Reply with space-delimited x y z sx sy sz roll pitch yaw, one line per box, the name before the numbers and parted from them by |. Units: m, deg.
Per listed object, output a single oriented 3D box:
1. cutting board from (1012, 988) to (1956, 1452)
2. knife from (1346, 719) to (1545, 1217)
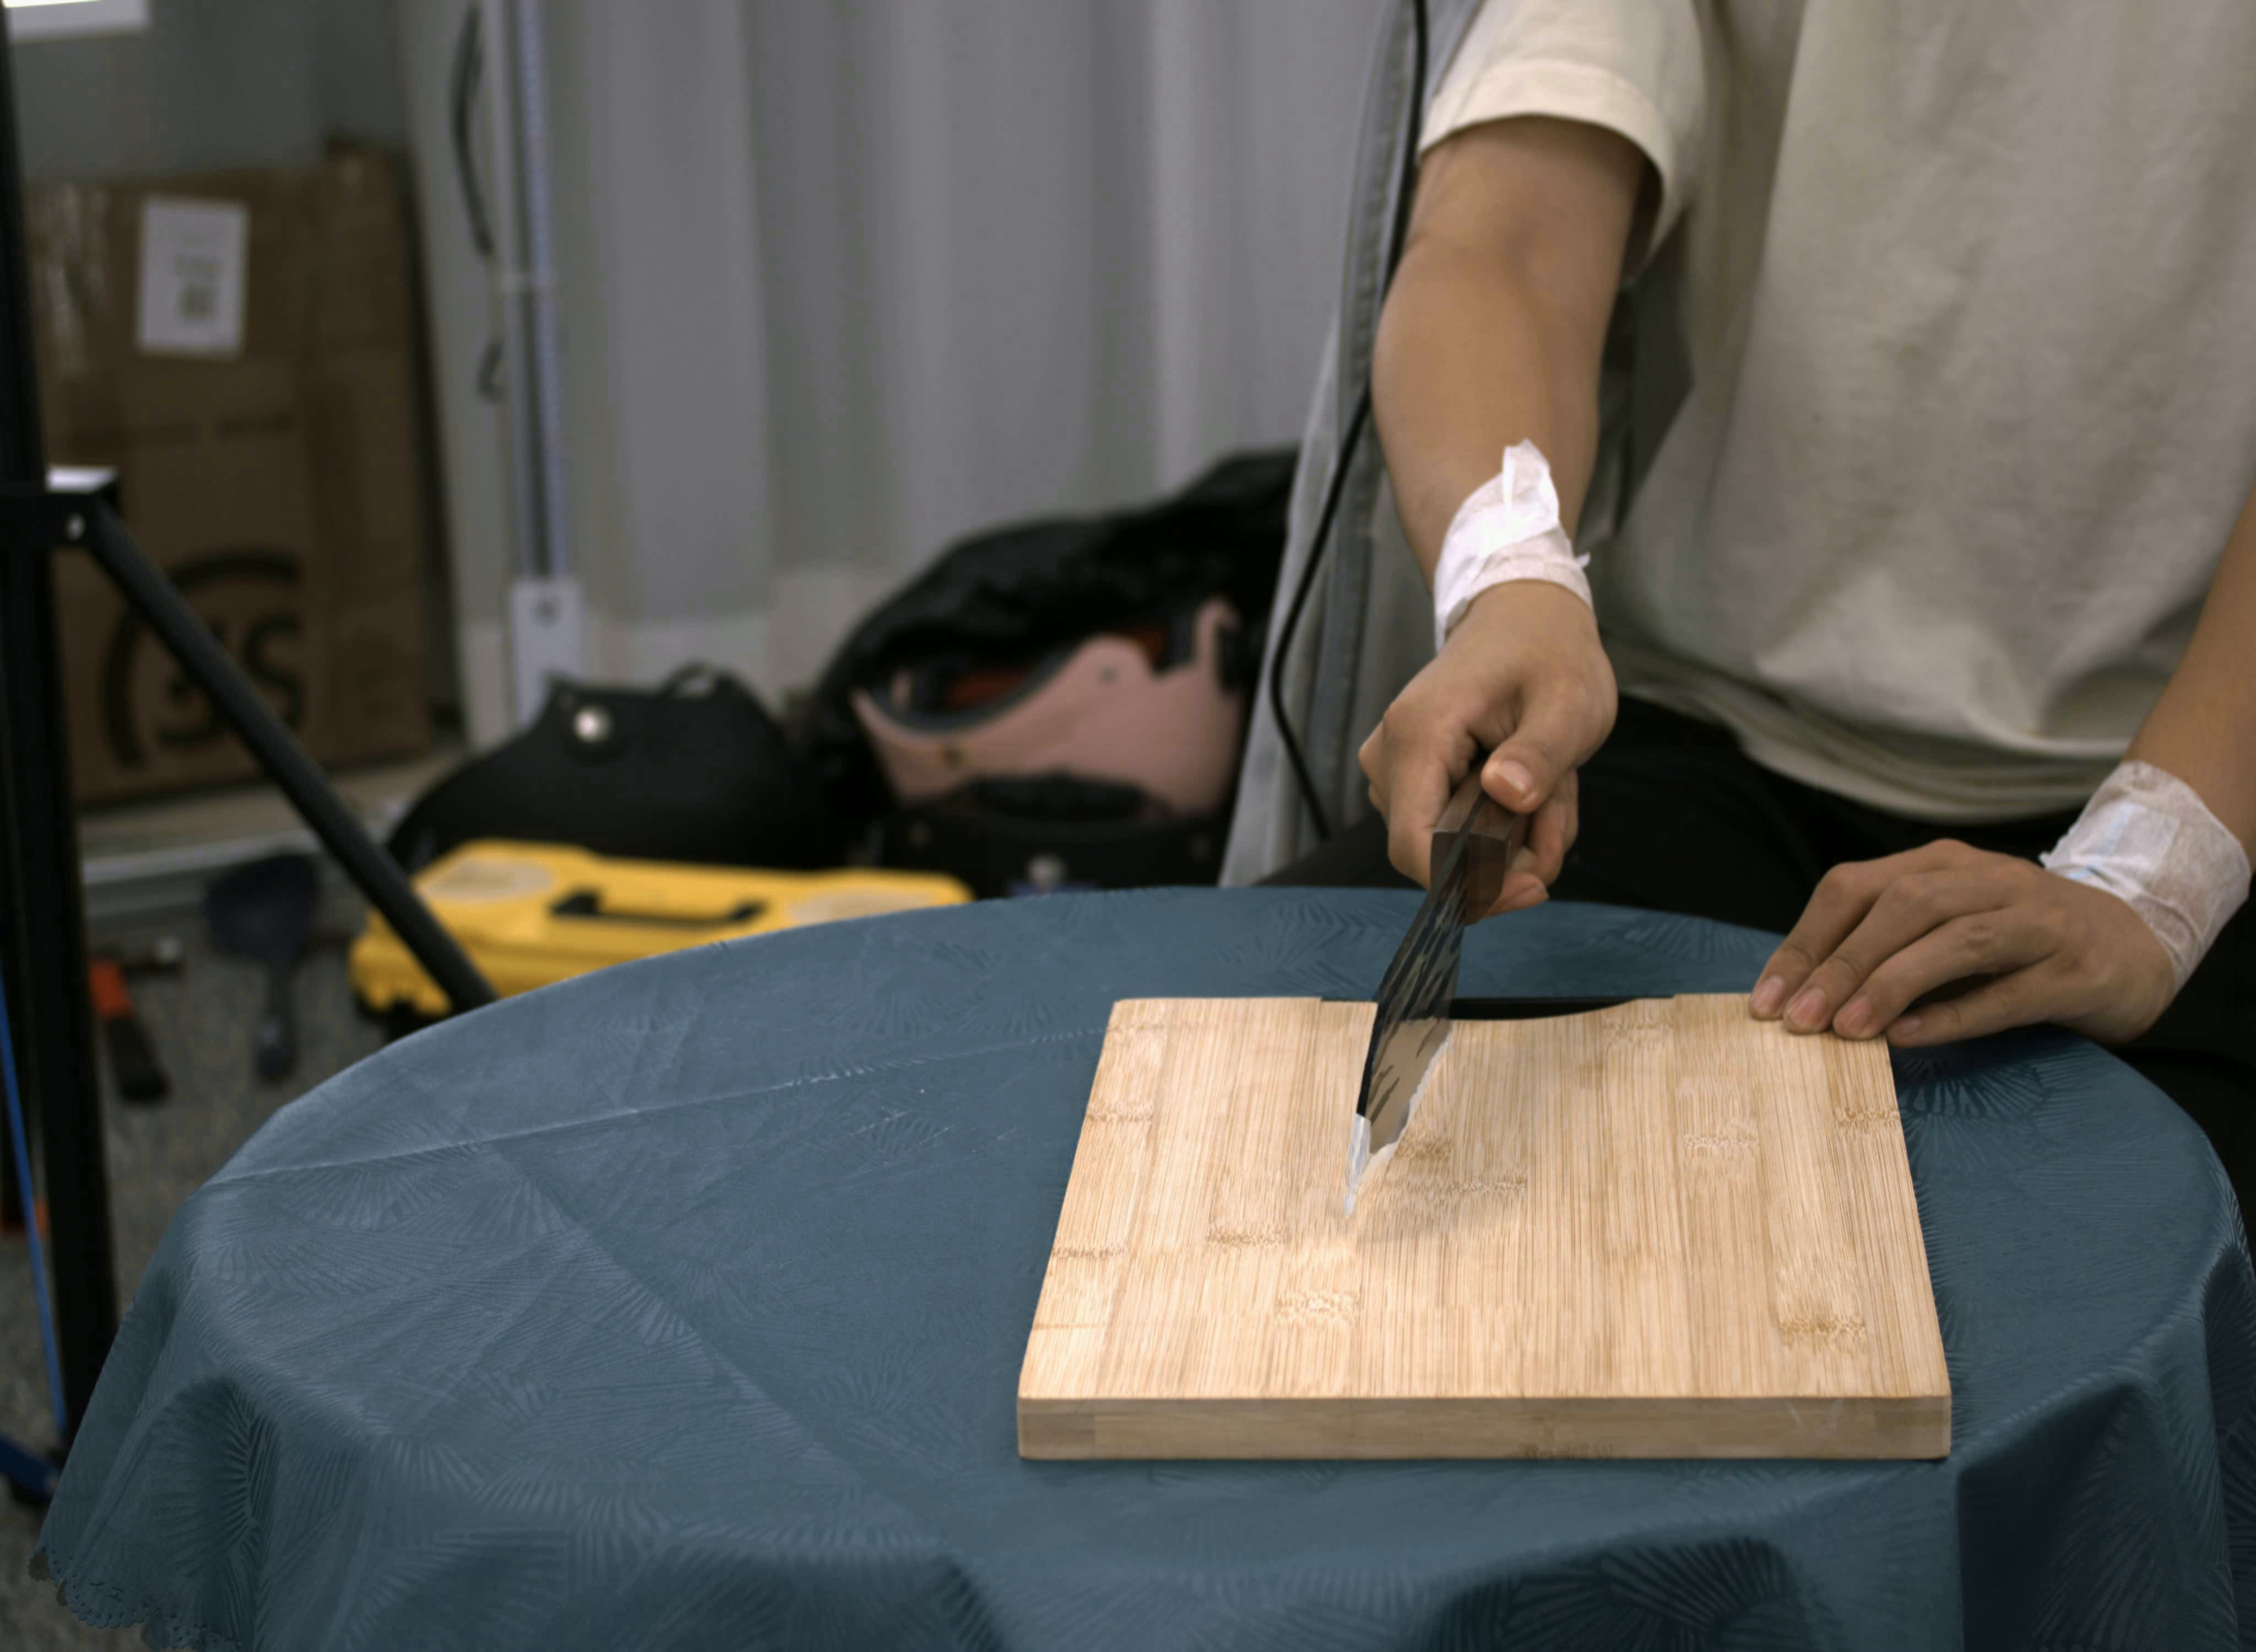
cutting board | 0.104 0.107 1.511 0.250 0.023 0.349 -1 15 4
knife | 0.093 0.038 1.586 0.024 0.068 0.298 7 20 10
